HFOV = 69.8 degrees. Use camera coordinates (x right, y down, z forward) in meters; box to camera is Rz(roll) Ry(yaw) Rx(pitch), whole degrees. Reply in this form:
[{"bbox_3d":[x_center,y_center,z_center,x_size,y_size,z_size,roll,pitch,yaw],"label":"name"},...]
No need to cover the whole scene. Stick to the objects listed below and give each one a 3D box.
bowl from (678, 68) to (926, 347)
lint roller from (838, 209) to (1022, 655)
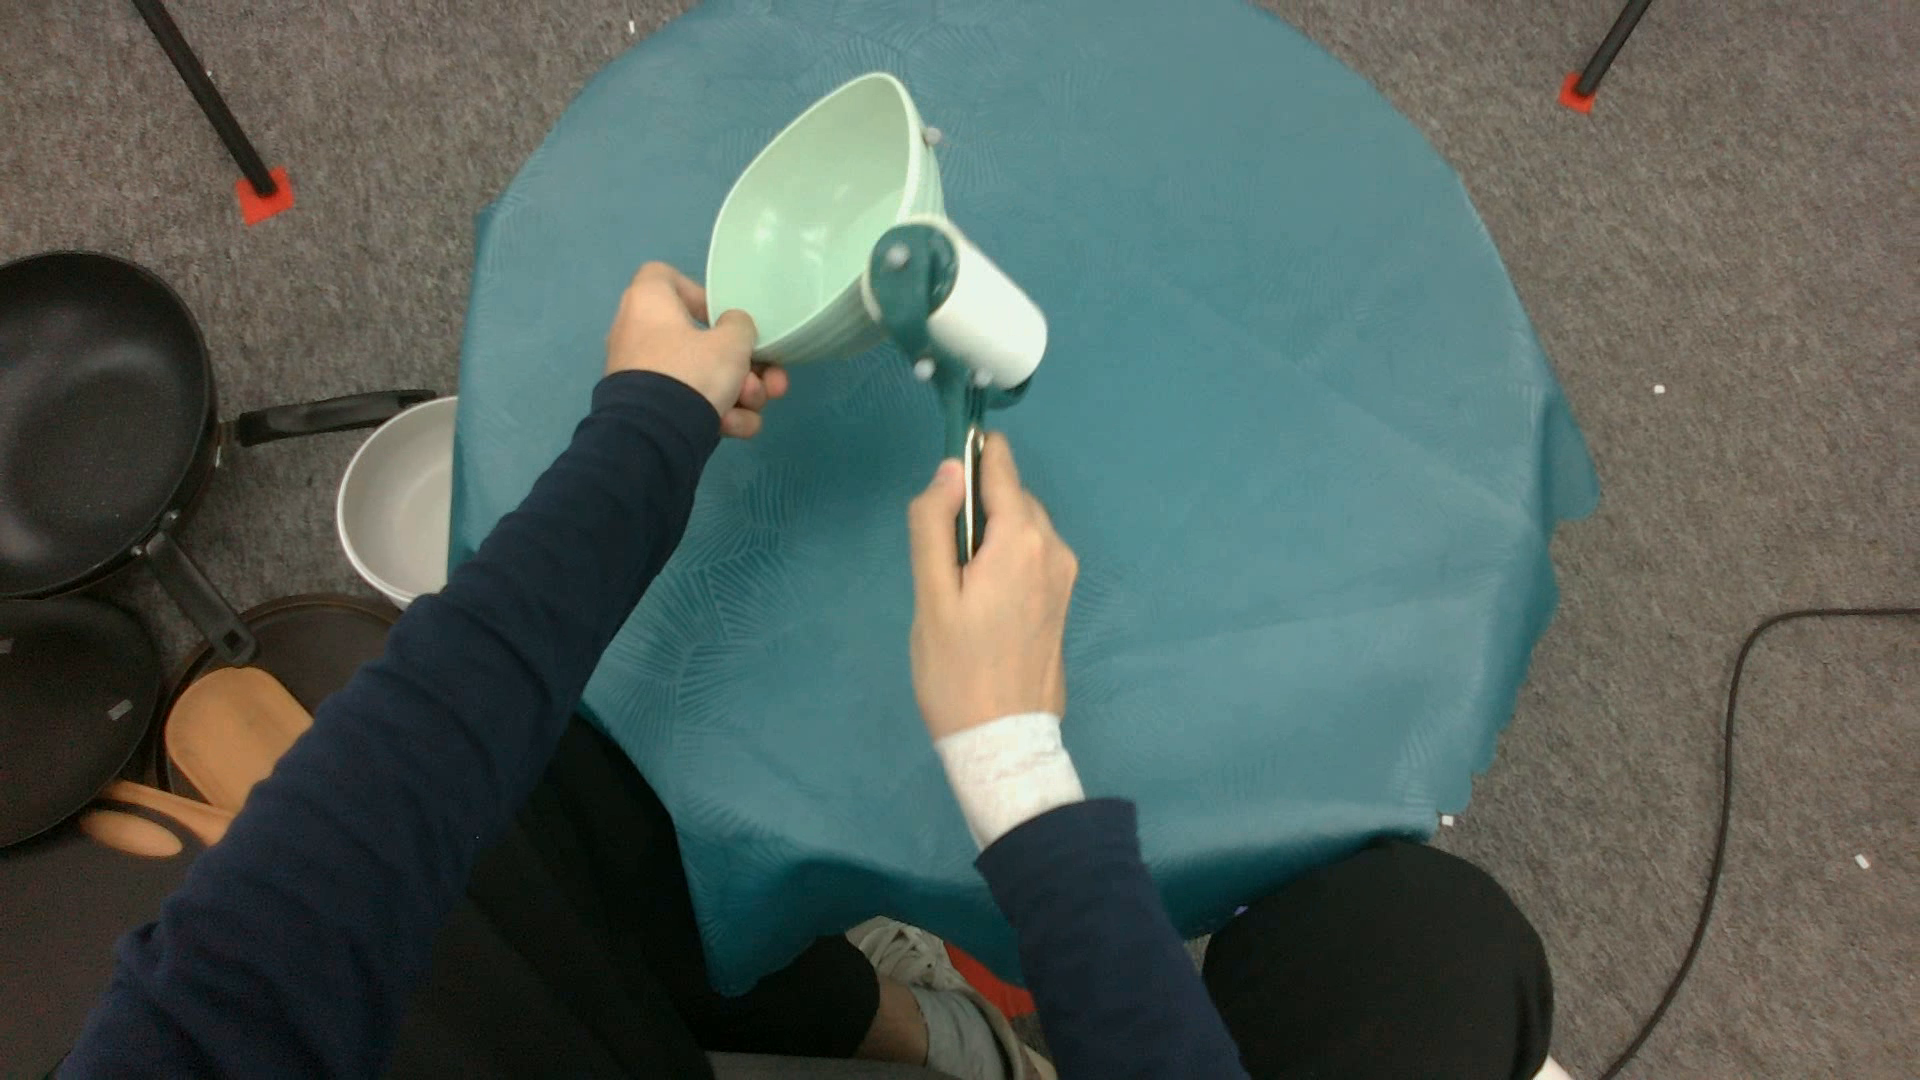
[{"bbox_3d":[-0.067,-0.150,0.668,0.151,0.058,0.152,-22,50,30],"label":"bowl"},{"bbox_3d":[-0.002,-0.042,0.606,0.048,0.134,0.180,-14,76,21],"label":"lint roller"}]
